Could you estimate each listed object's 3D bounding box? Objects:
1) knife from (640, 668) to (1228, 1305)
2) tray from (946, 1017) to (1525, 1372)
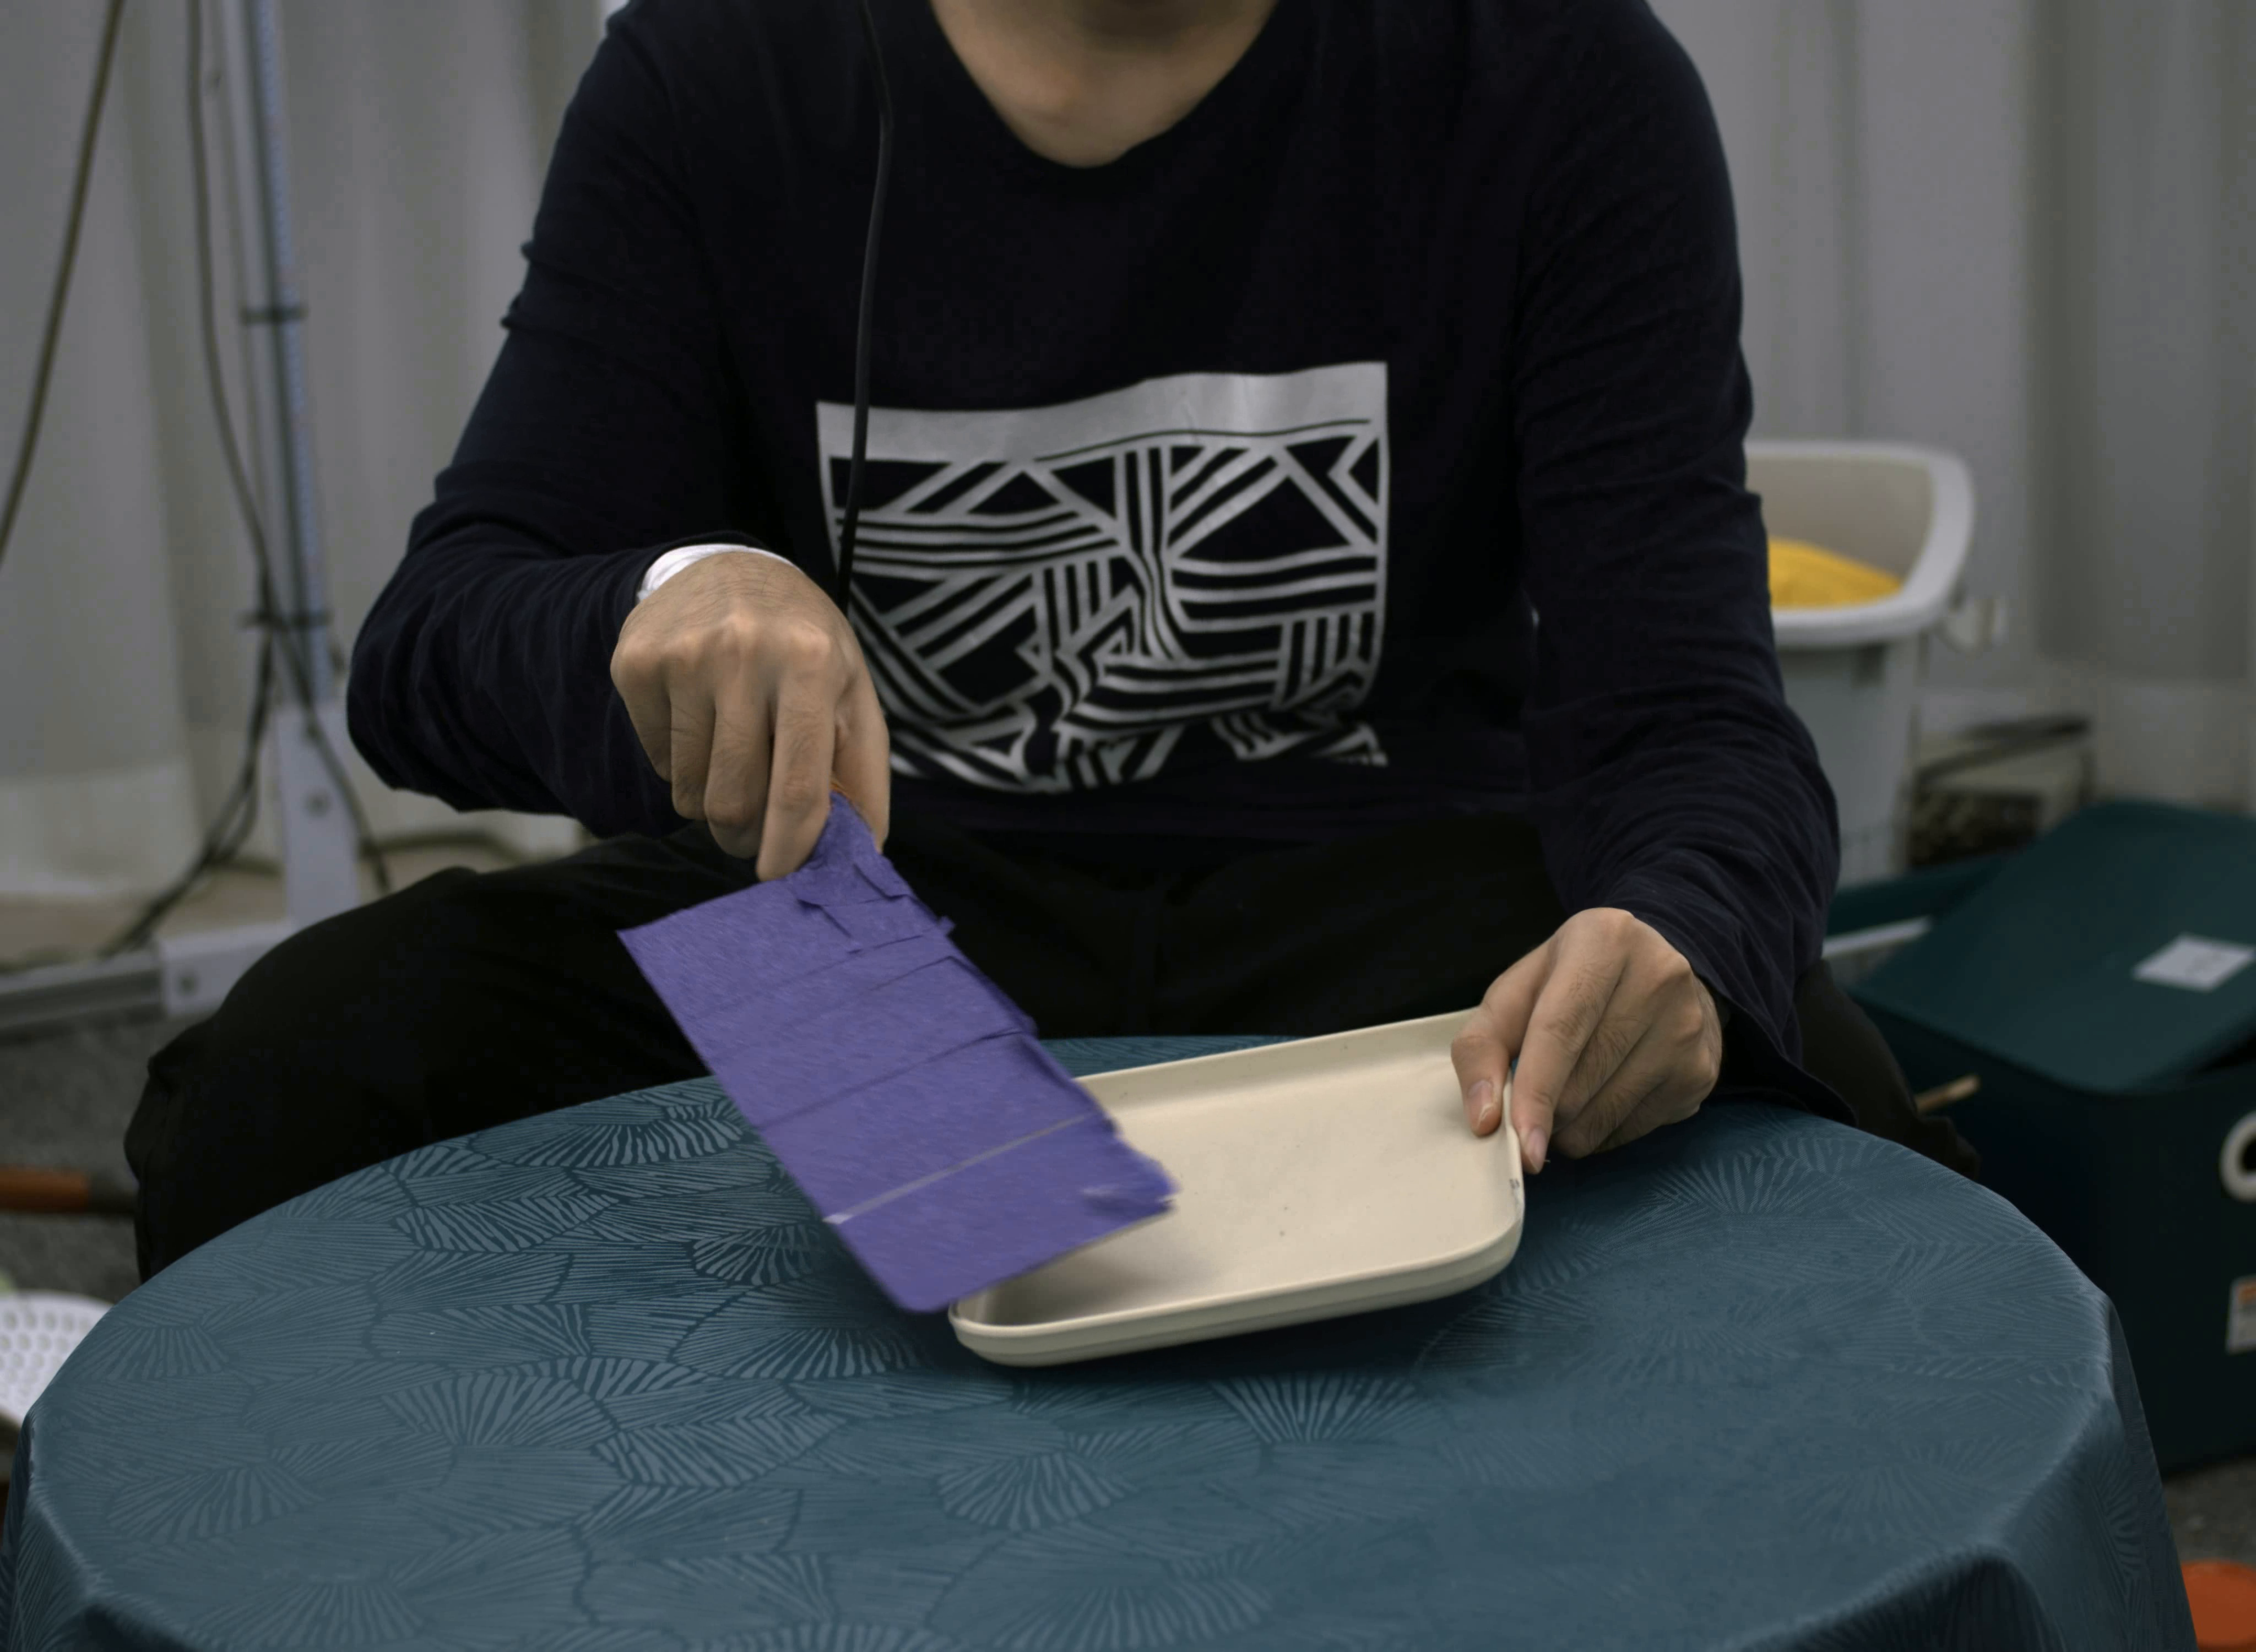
[{"bbox_3d":[-0.091,0.044,1.686,0.103,0.032,0.319,-20,38,-22],"label":"knife"},{"bbox_3d":[0.034,0.110,1.655,0.171,0.017,0.241,-10,14,5],"label":"tray"}]
